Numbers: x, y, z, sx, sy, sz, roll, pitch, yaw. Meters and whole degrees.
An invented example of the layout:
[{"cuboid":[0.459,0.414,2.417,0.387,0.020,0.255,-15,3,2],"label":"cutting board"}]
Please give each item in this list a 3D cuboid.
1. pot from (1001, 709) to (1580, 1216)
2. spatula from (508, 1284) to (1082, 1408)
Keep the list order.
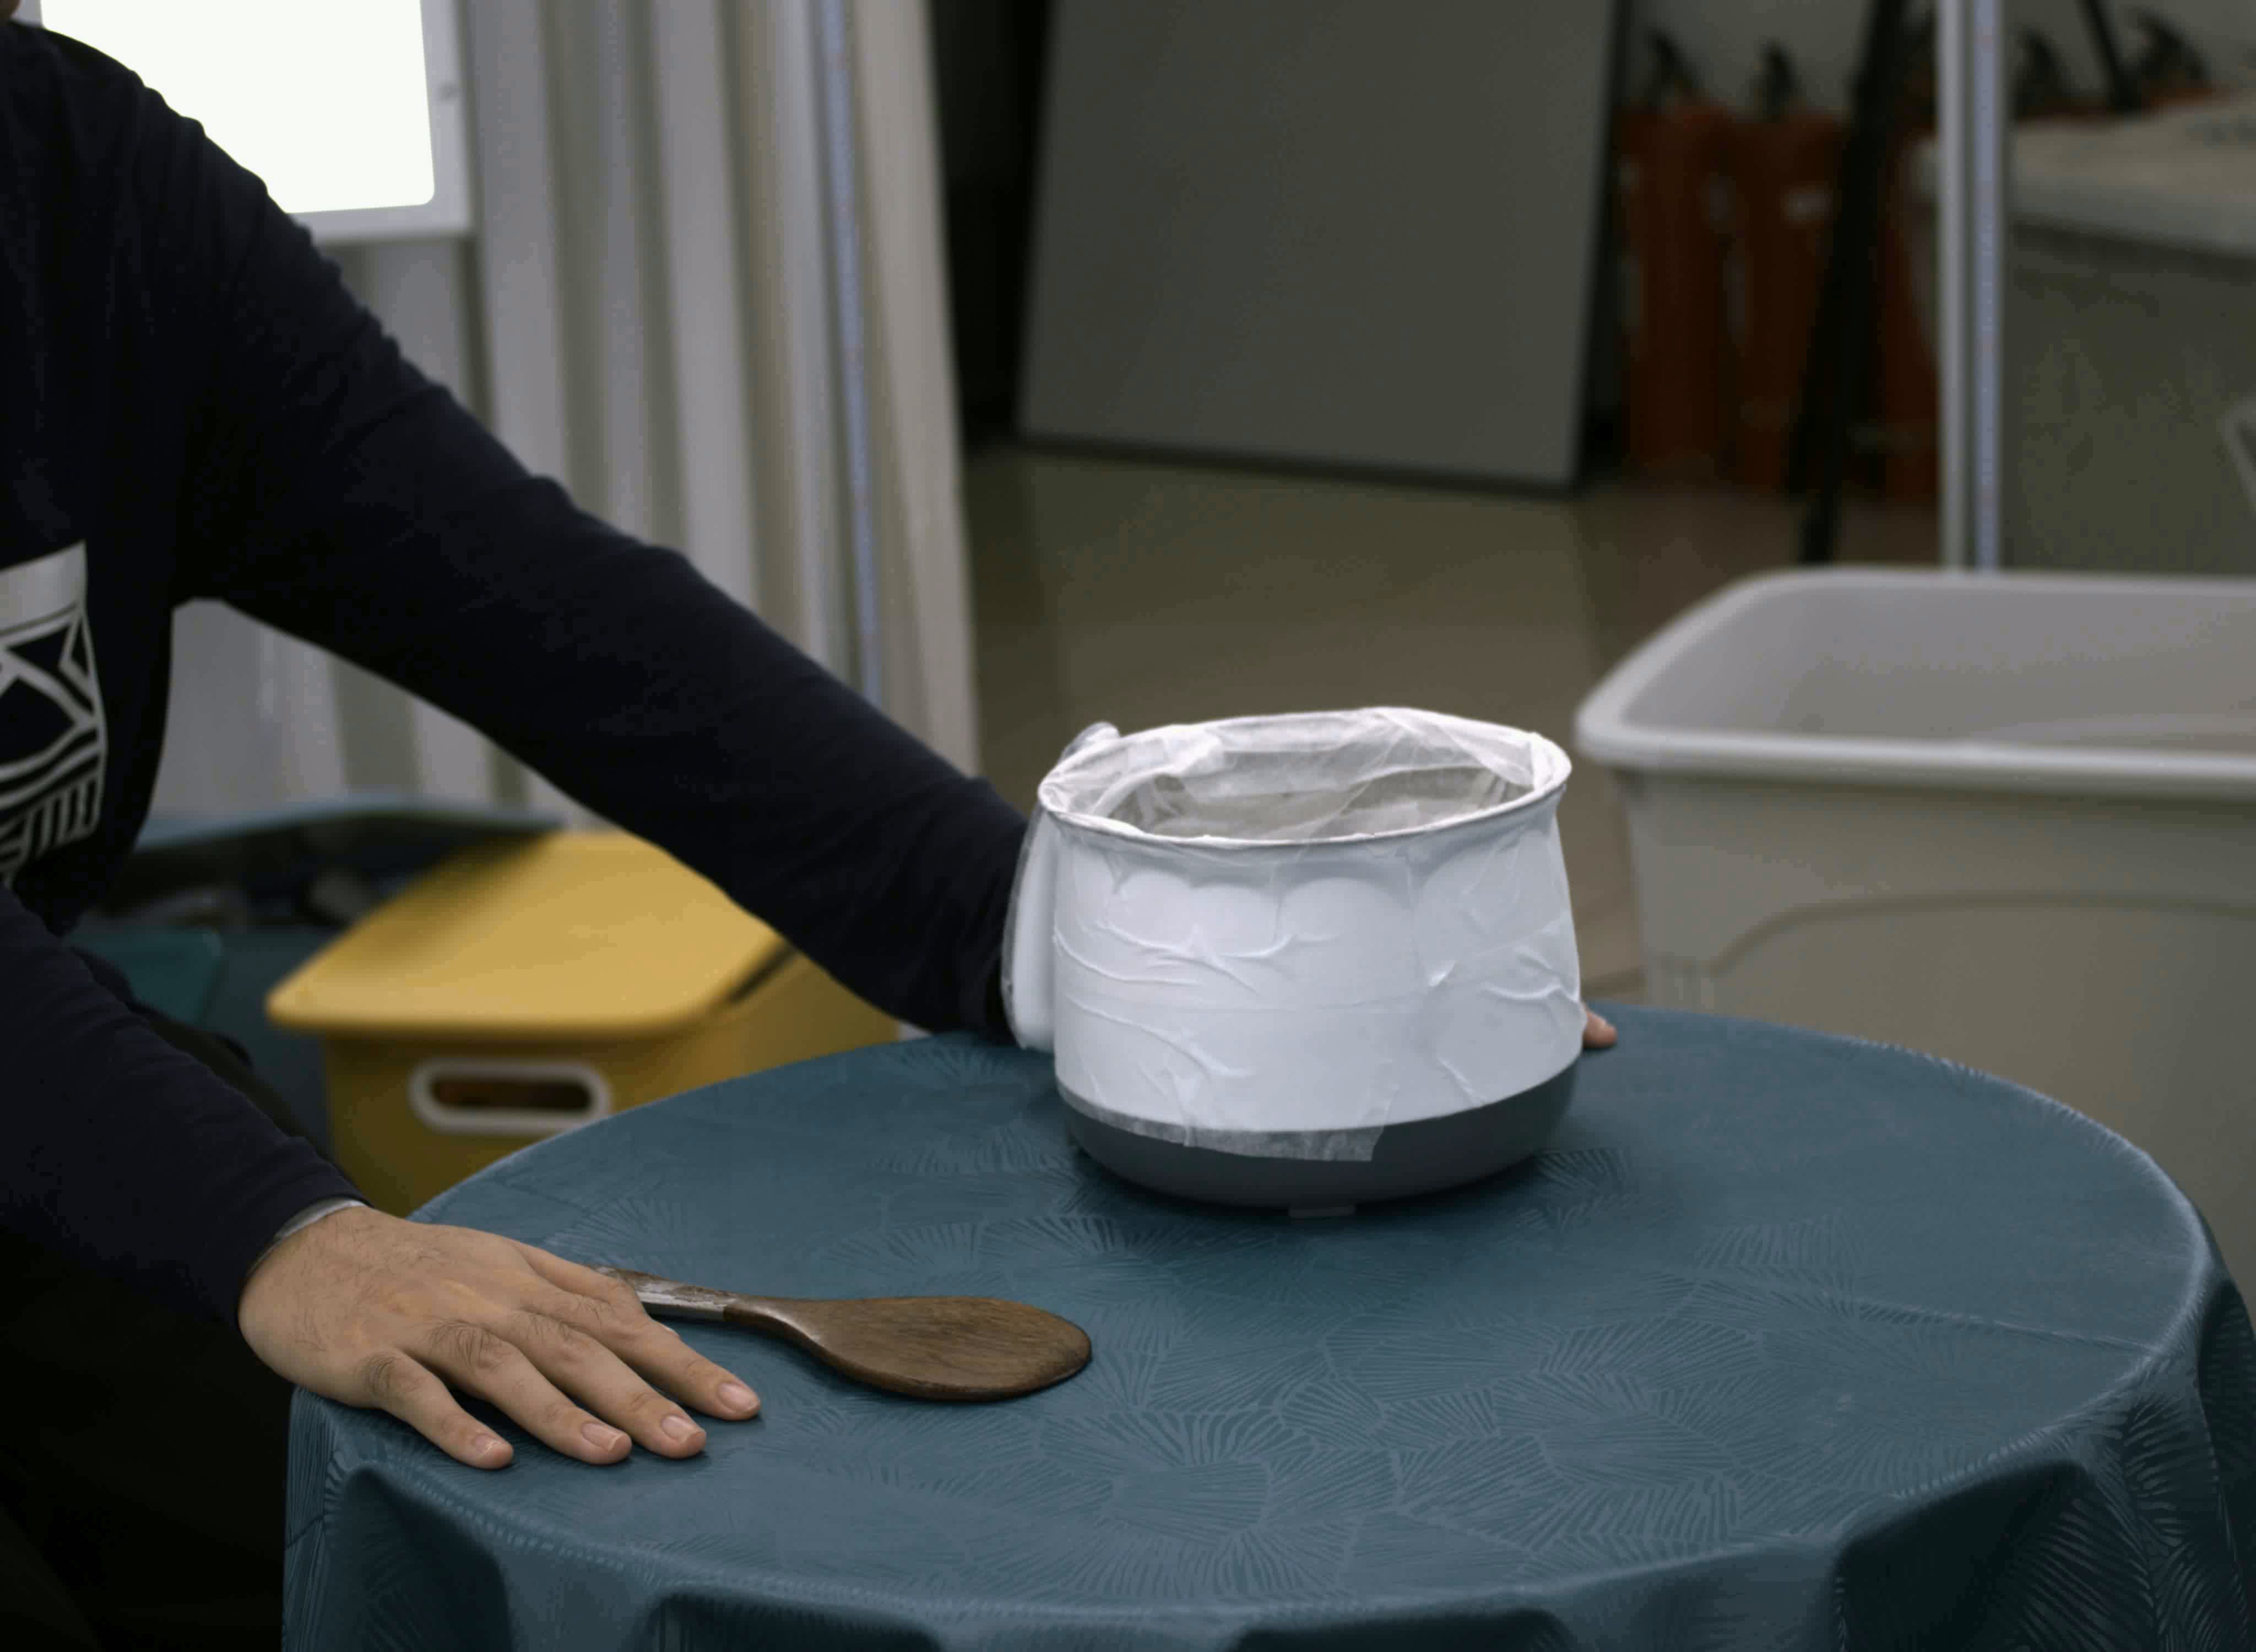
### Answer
[{"cuboid":[0.042,0.039,1.803,0.175,0.138,0.236,-12,17,-42],"label":"pot"},{"cuboid":[-0.105,0.155,1.660,0.217,0.009,0.070,5,15,36],"label":"spatula"}]
